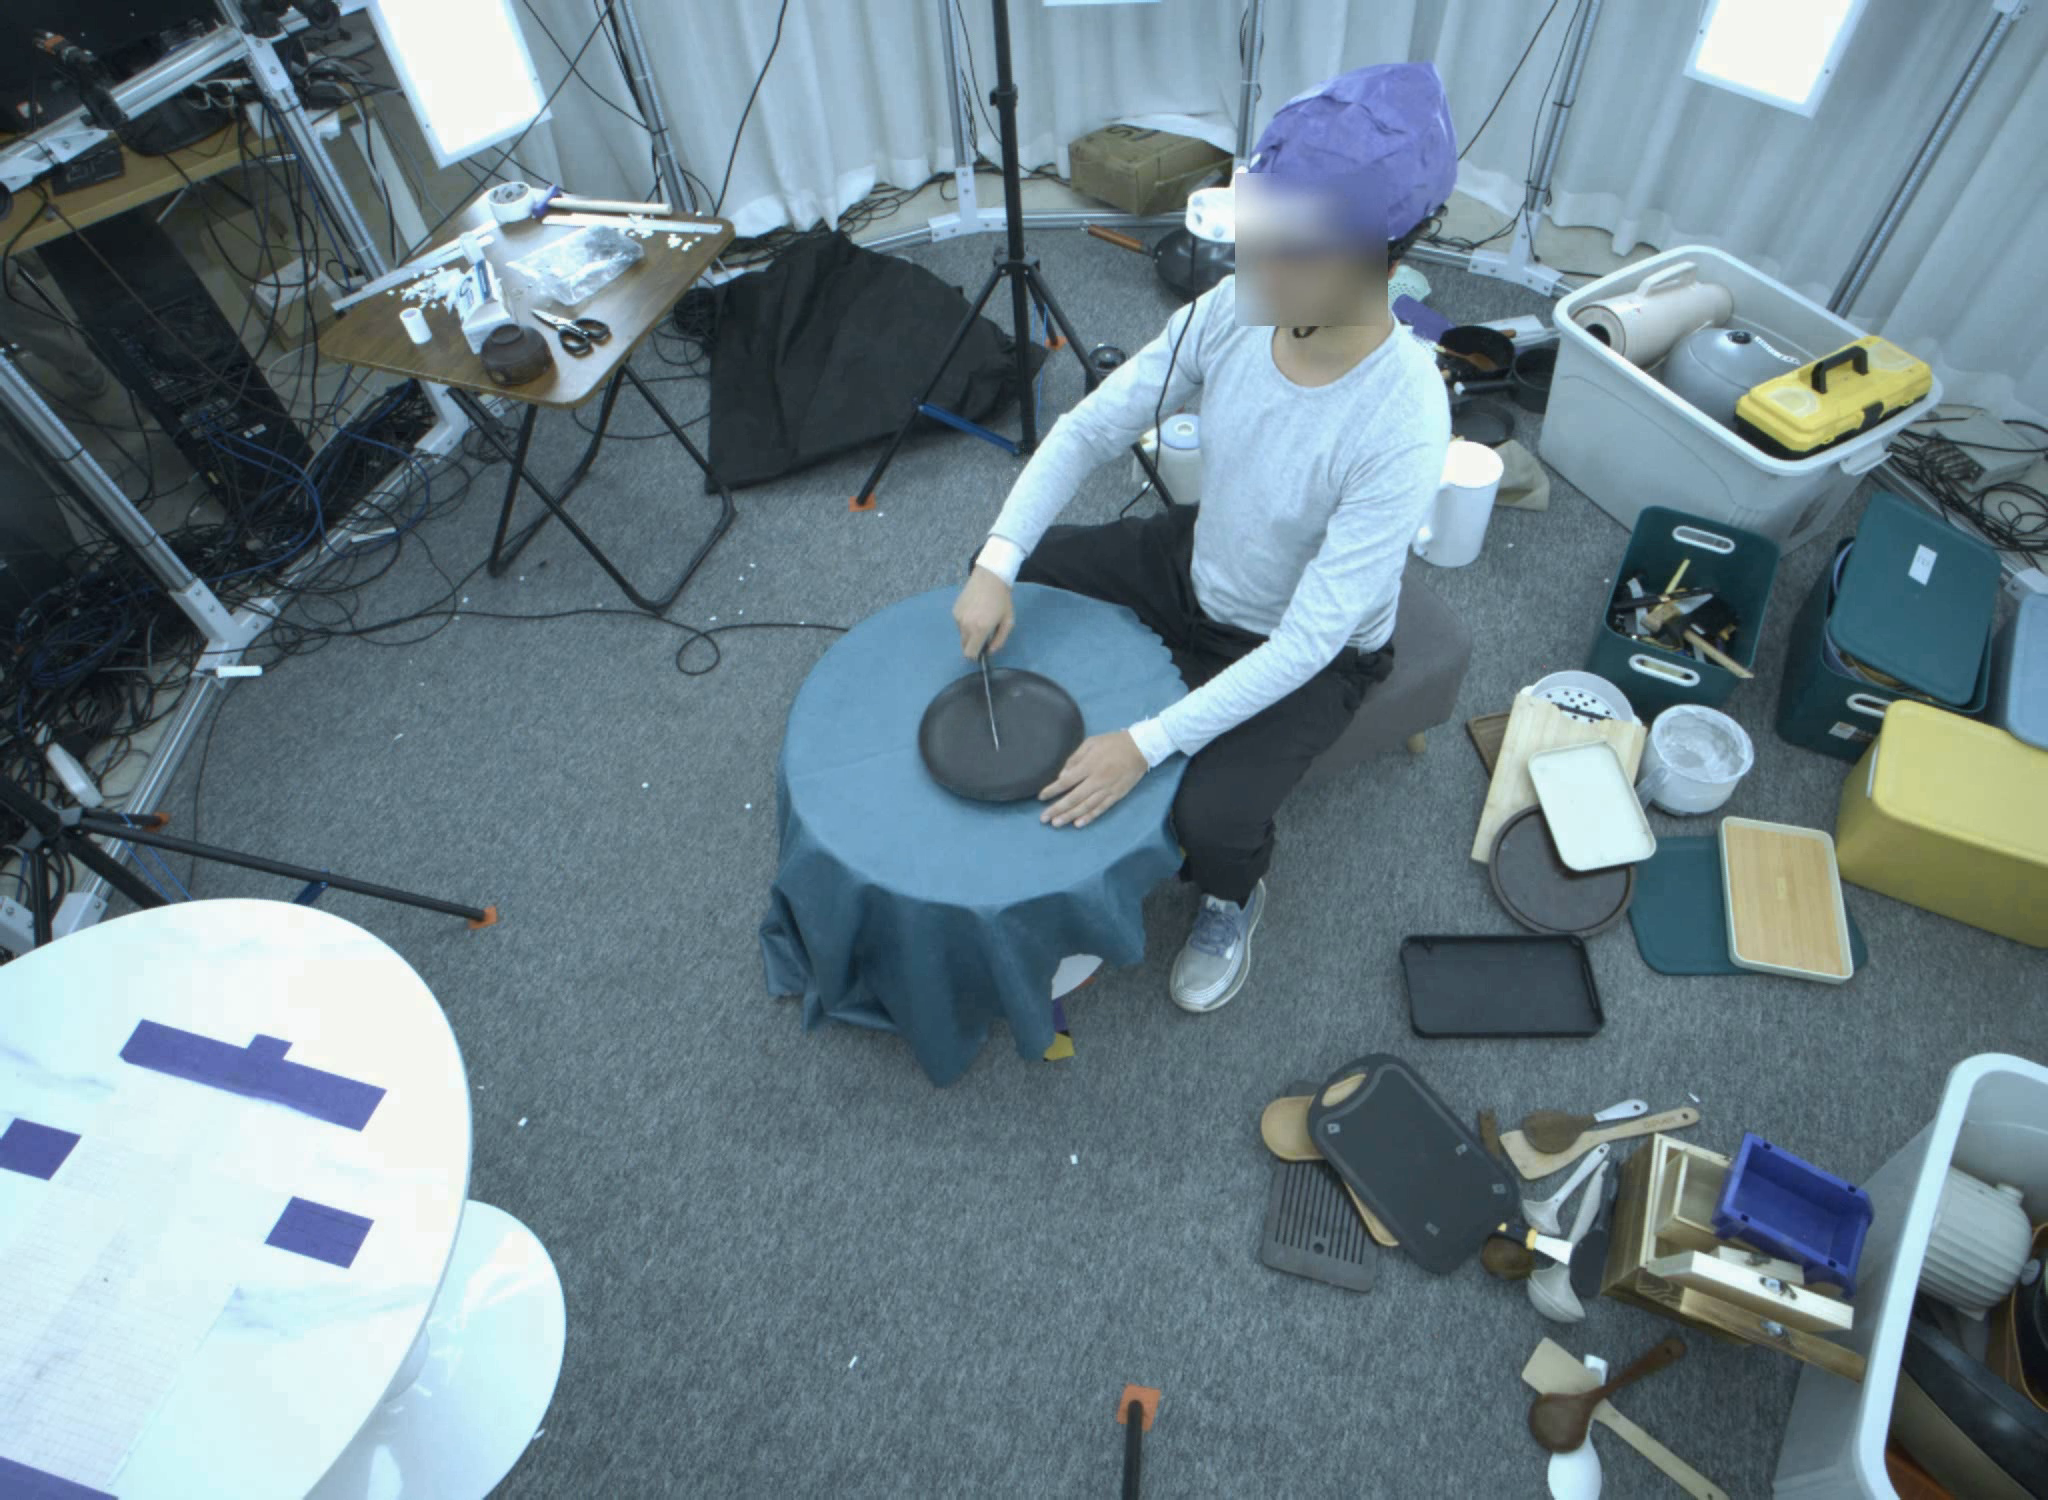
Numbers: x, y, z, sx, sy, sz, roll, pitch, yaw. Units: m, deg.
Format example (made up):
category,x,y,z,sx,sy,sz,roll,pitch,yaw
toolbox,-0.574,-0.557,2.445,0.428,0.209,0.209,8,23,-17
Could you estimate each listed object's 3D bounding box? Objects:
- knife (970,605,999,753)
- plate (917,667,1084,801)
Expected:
category,x,y,z,sx,sy,sz,roll,pitch,yaw
knife,-0.057,-0.108,1.817,0.016,0.025,0.236,-11,74,5
plate,-0.034,-0.022,1.798,0.244,0.023,0.242,0,55,1
